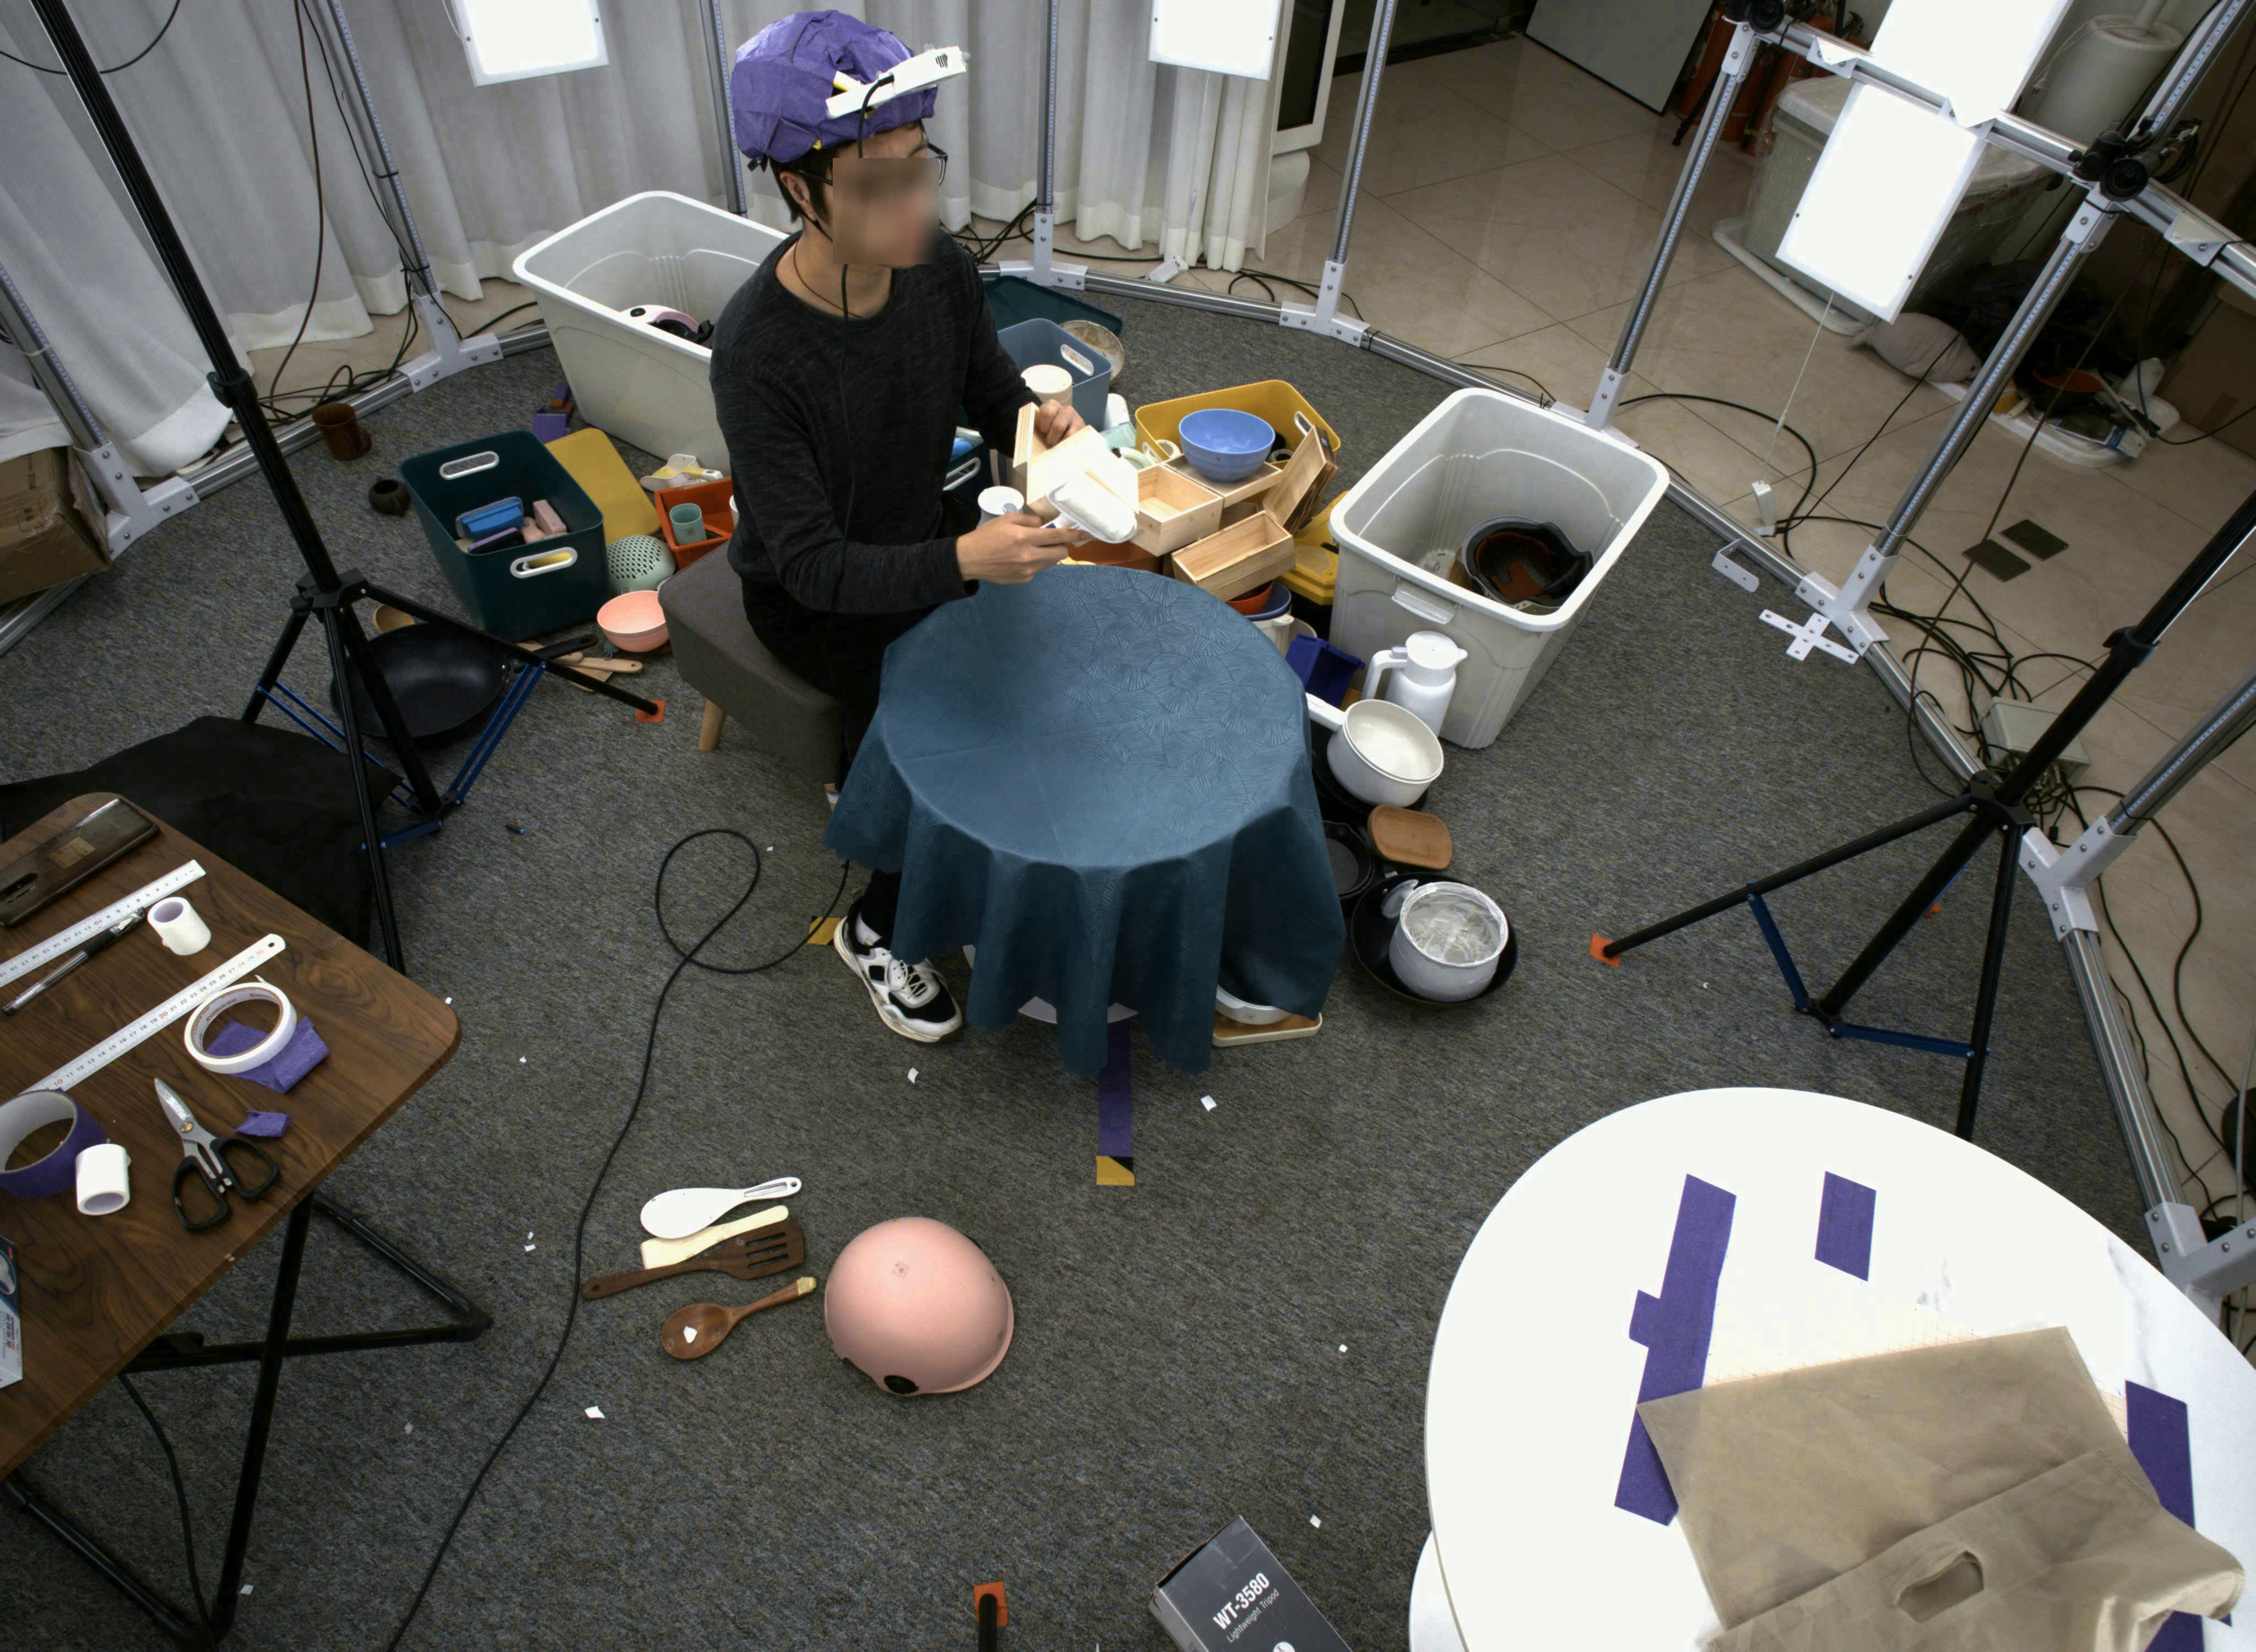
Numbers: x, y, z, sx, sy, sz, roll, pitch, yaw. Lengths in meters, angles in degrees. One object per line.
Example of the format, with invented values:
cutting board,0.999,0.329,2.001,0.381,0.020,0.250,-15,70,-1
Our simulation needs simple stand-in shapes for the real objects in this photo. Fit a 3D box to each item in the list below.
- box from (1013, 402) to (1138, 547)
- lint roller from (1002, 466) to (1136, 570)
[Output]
box,-0.065,-0.472,1.662,0.133,0.101,0.189,-22,53,30
lint roller,-0.092,-0.362,1.600,0.131,0.179,0.051,30,38,-42
